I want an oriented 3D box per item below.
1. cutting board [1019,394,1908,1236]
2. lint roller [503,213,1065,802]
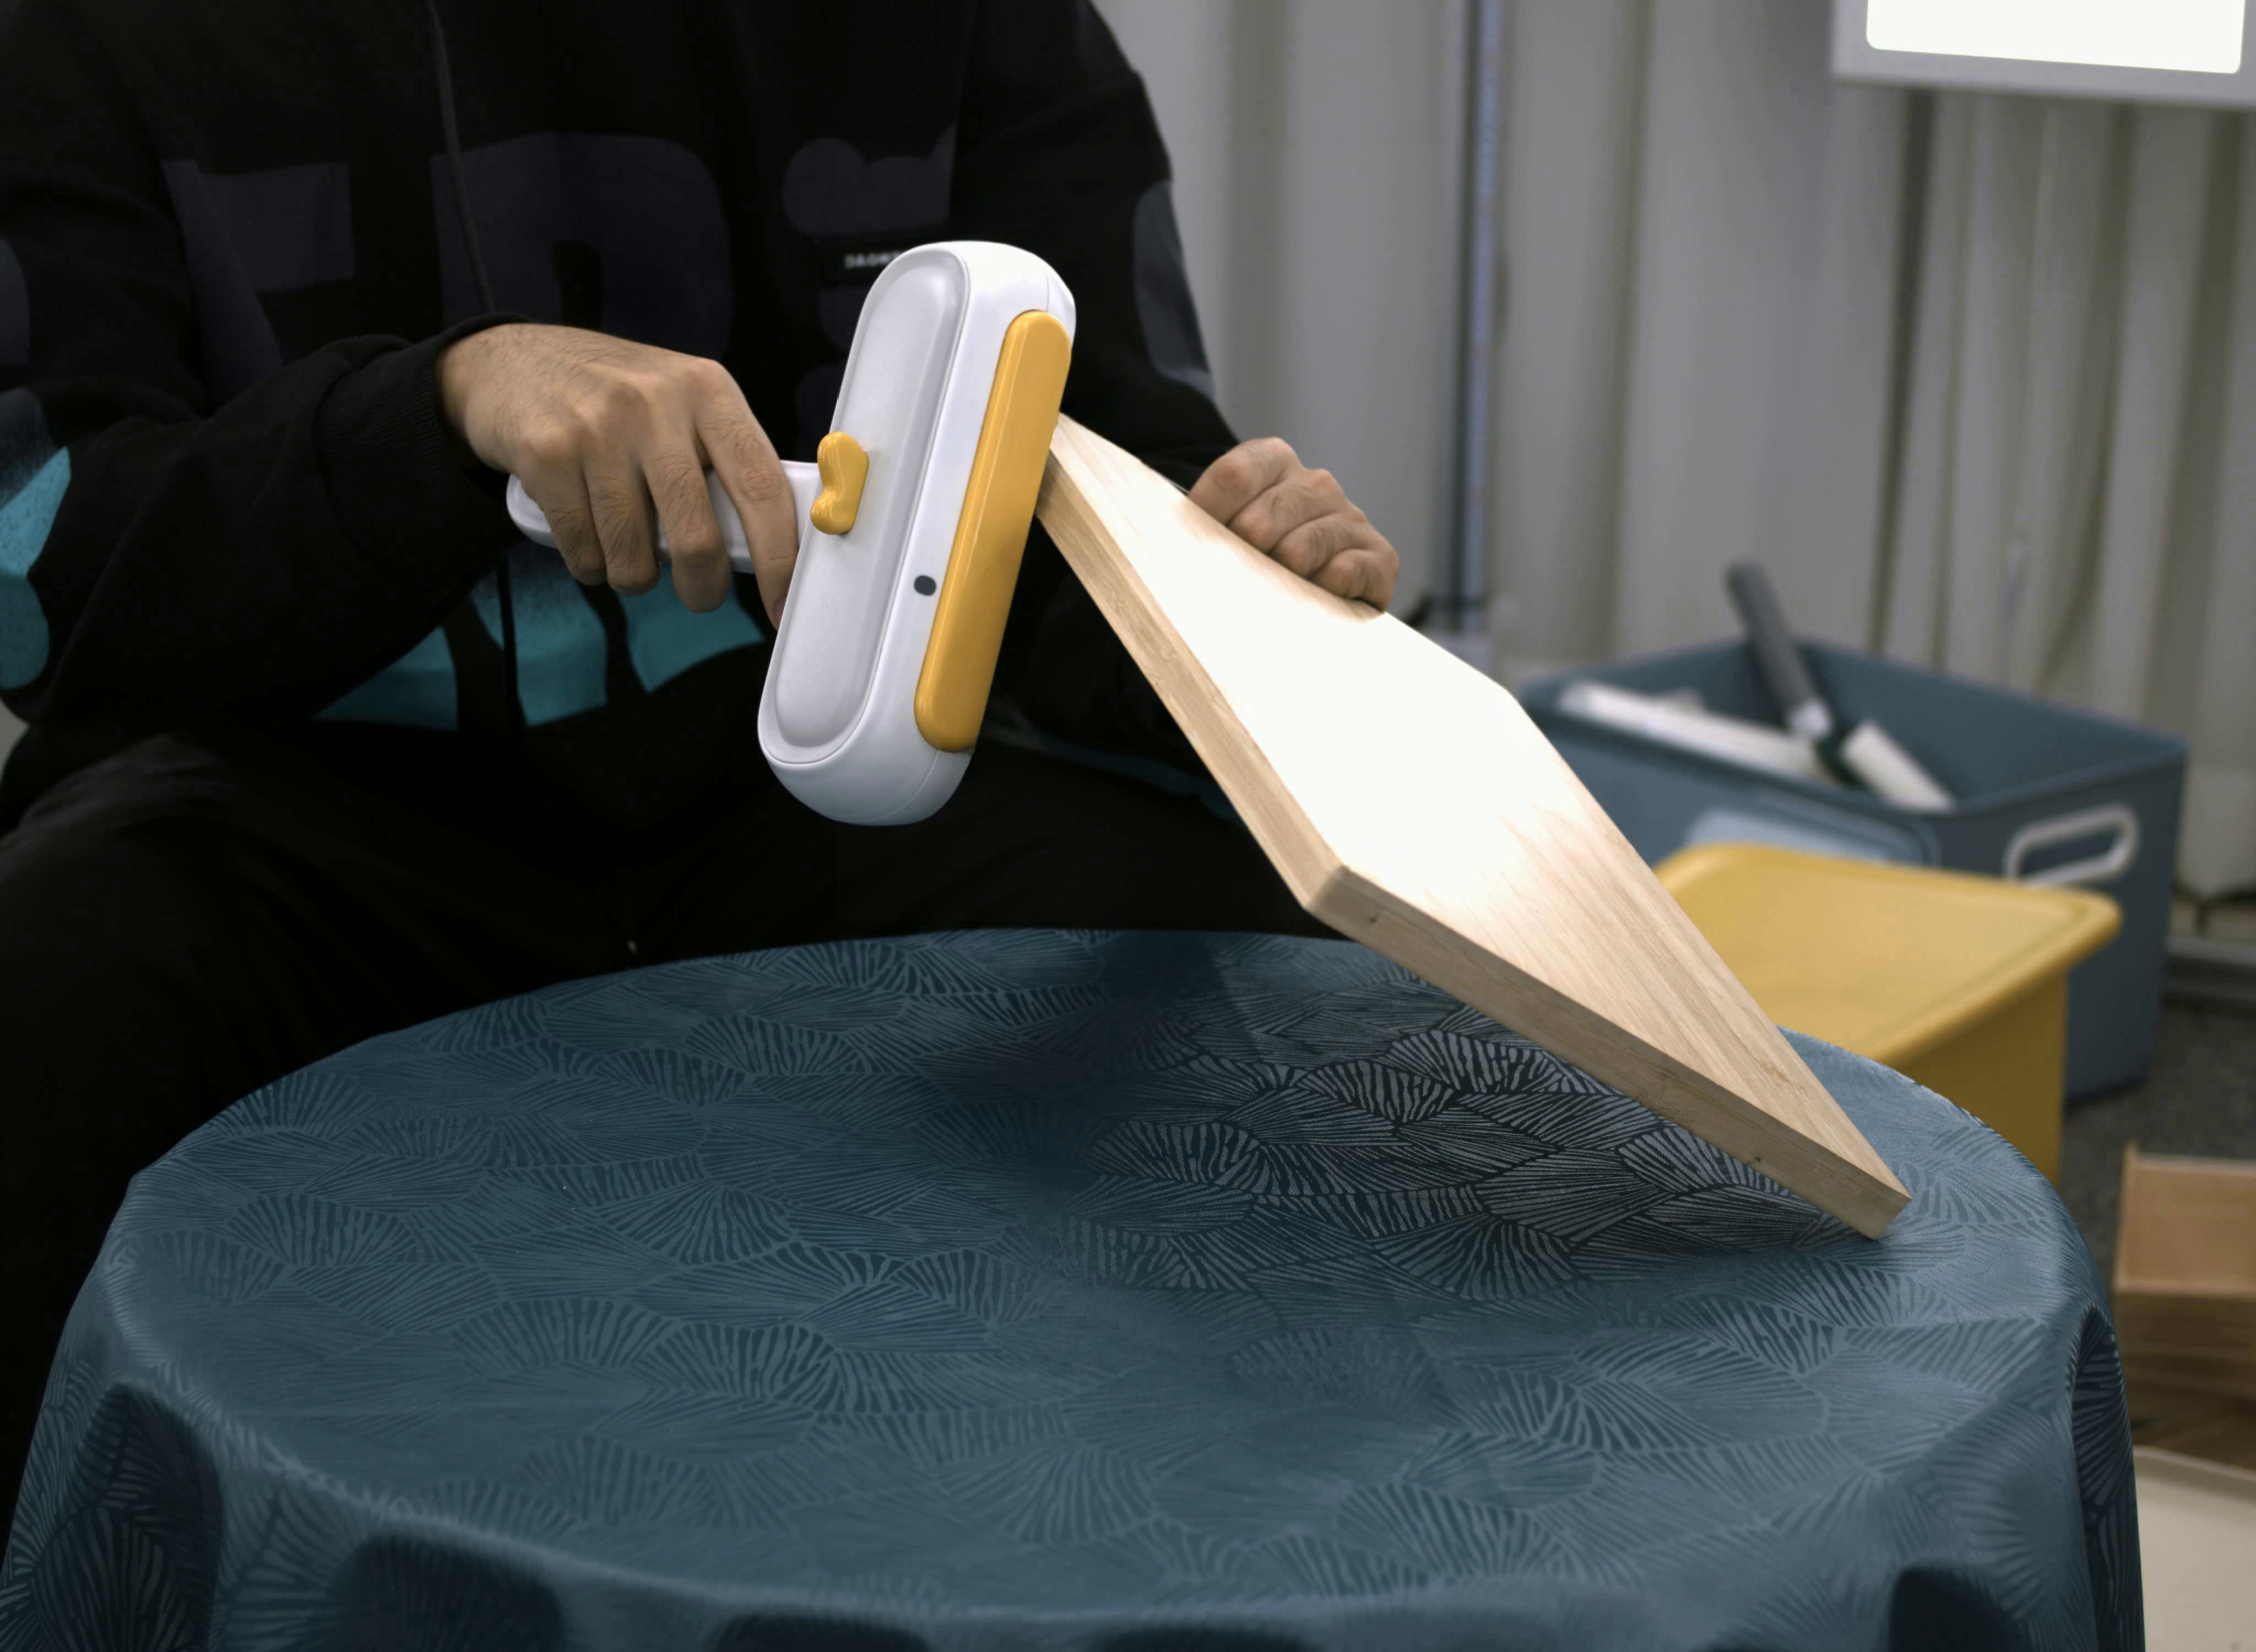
[{"bbox_3d":[0.089,-0.014,1.661,0.253,0.023,0.344,30,15,-32],"label":"cutting board"},{"bbox_3d":[-0.116,-0.103,1.700,0.190,0.193,0.075,-1,-14,38],"label":"lint roller"}]
